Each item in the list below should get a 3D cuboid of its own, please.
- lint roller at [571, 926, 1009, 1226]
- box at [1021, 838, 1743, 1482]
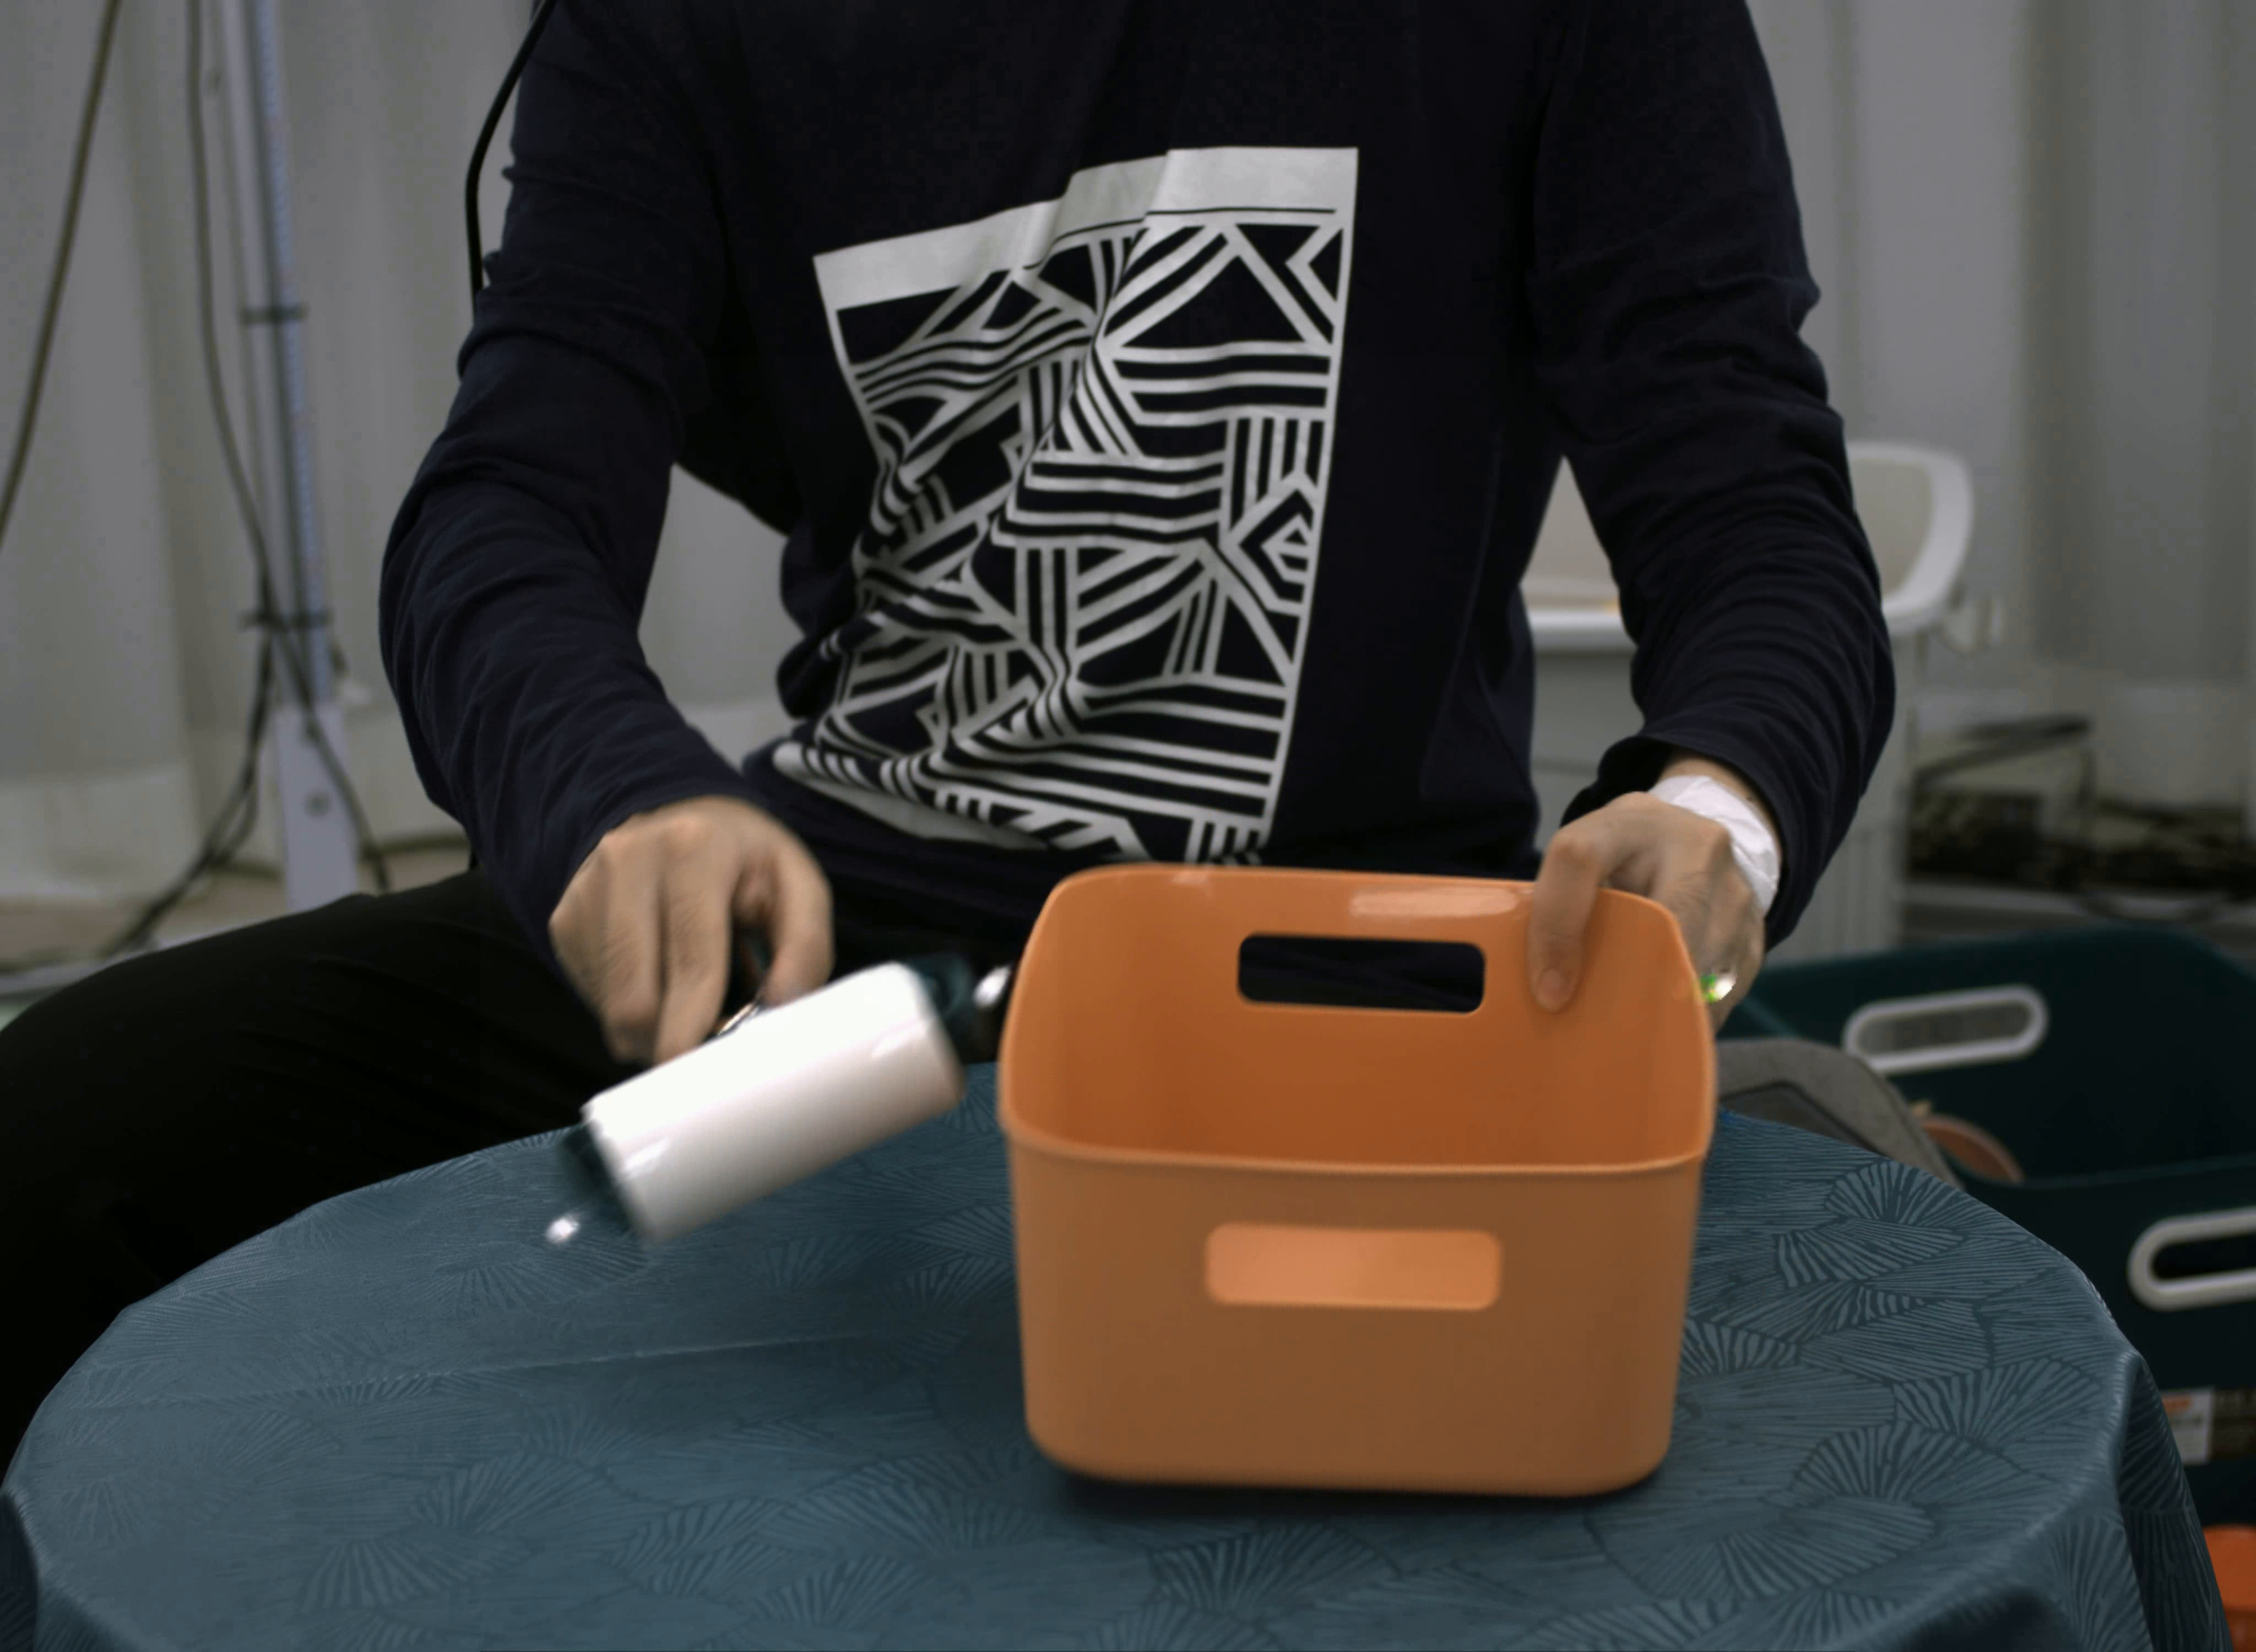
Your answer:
[{"bbox_3d":[-0.116,0.049,1.636,0.134,0.048,0.182,-27,26,-8],"label":"lint roller"},{"bbox_3d":[0.065,0.091,1.547,0.199,0.102,0.275,5,15,0],"label":"box"}]
